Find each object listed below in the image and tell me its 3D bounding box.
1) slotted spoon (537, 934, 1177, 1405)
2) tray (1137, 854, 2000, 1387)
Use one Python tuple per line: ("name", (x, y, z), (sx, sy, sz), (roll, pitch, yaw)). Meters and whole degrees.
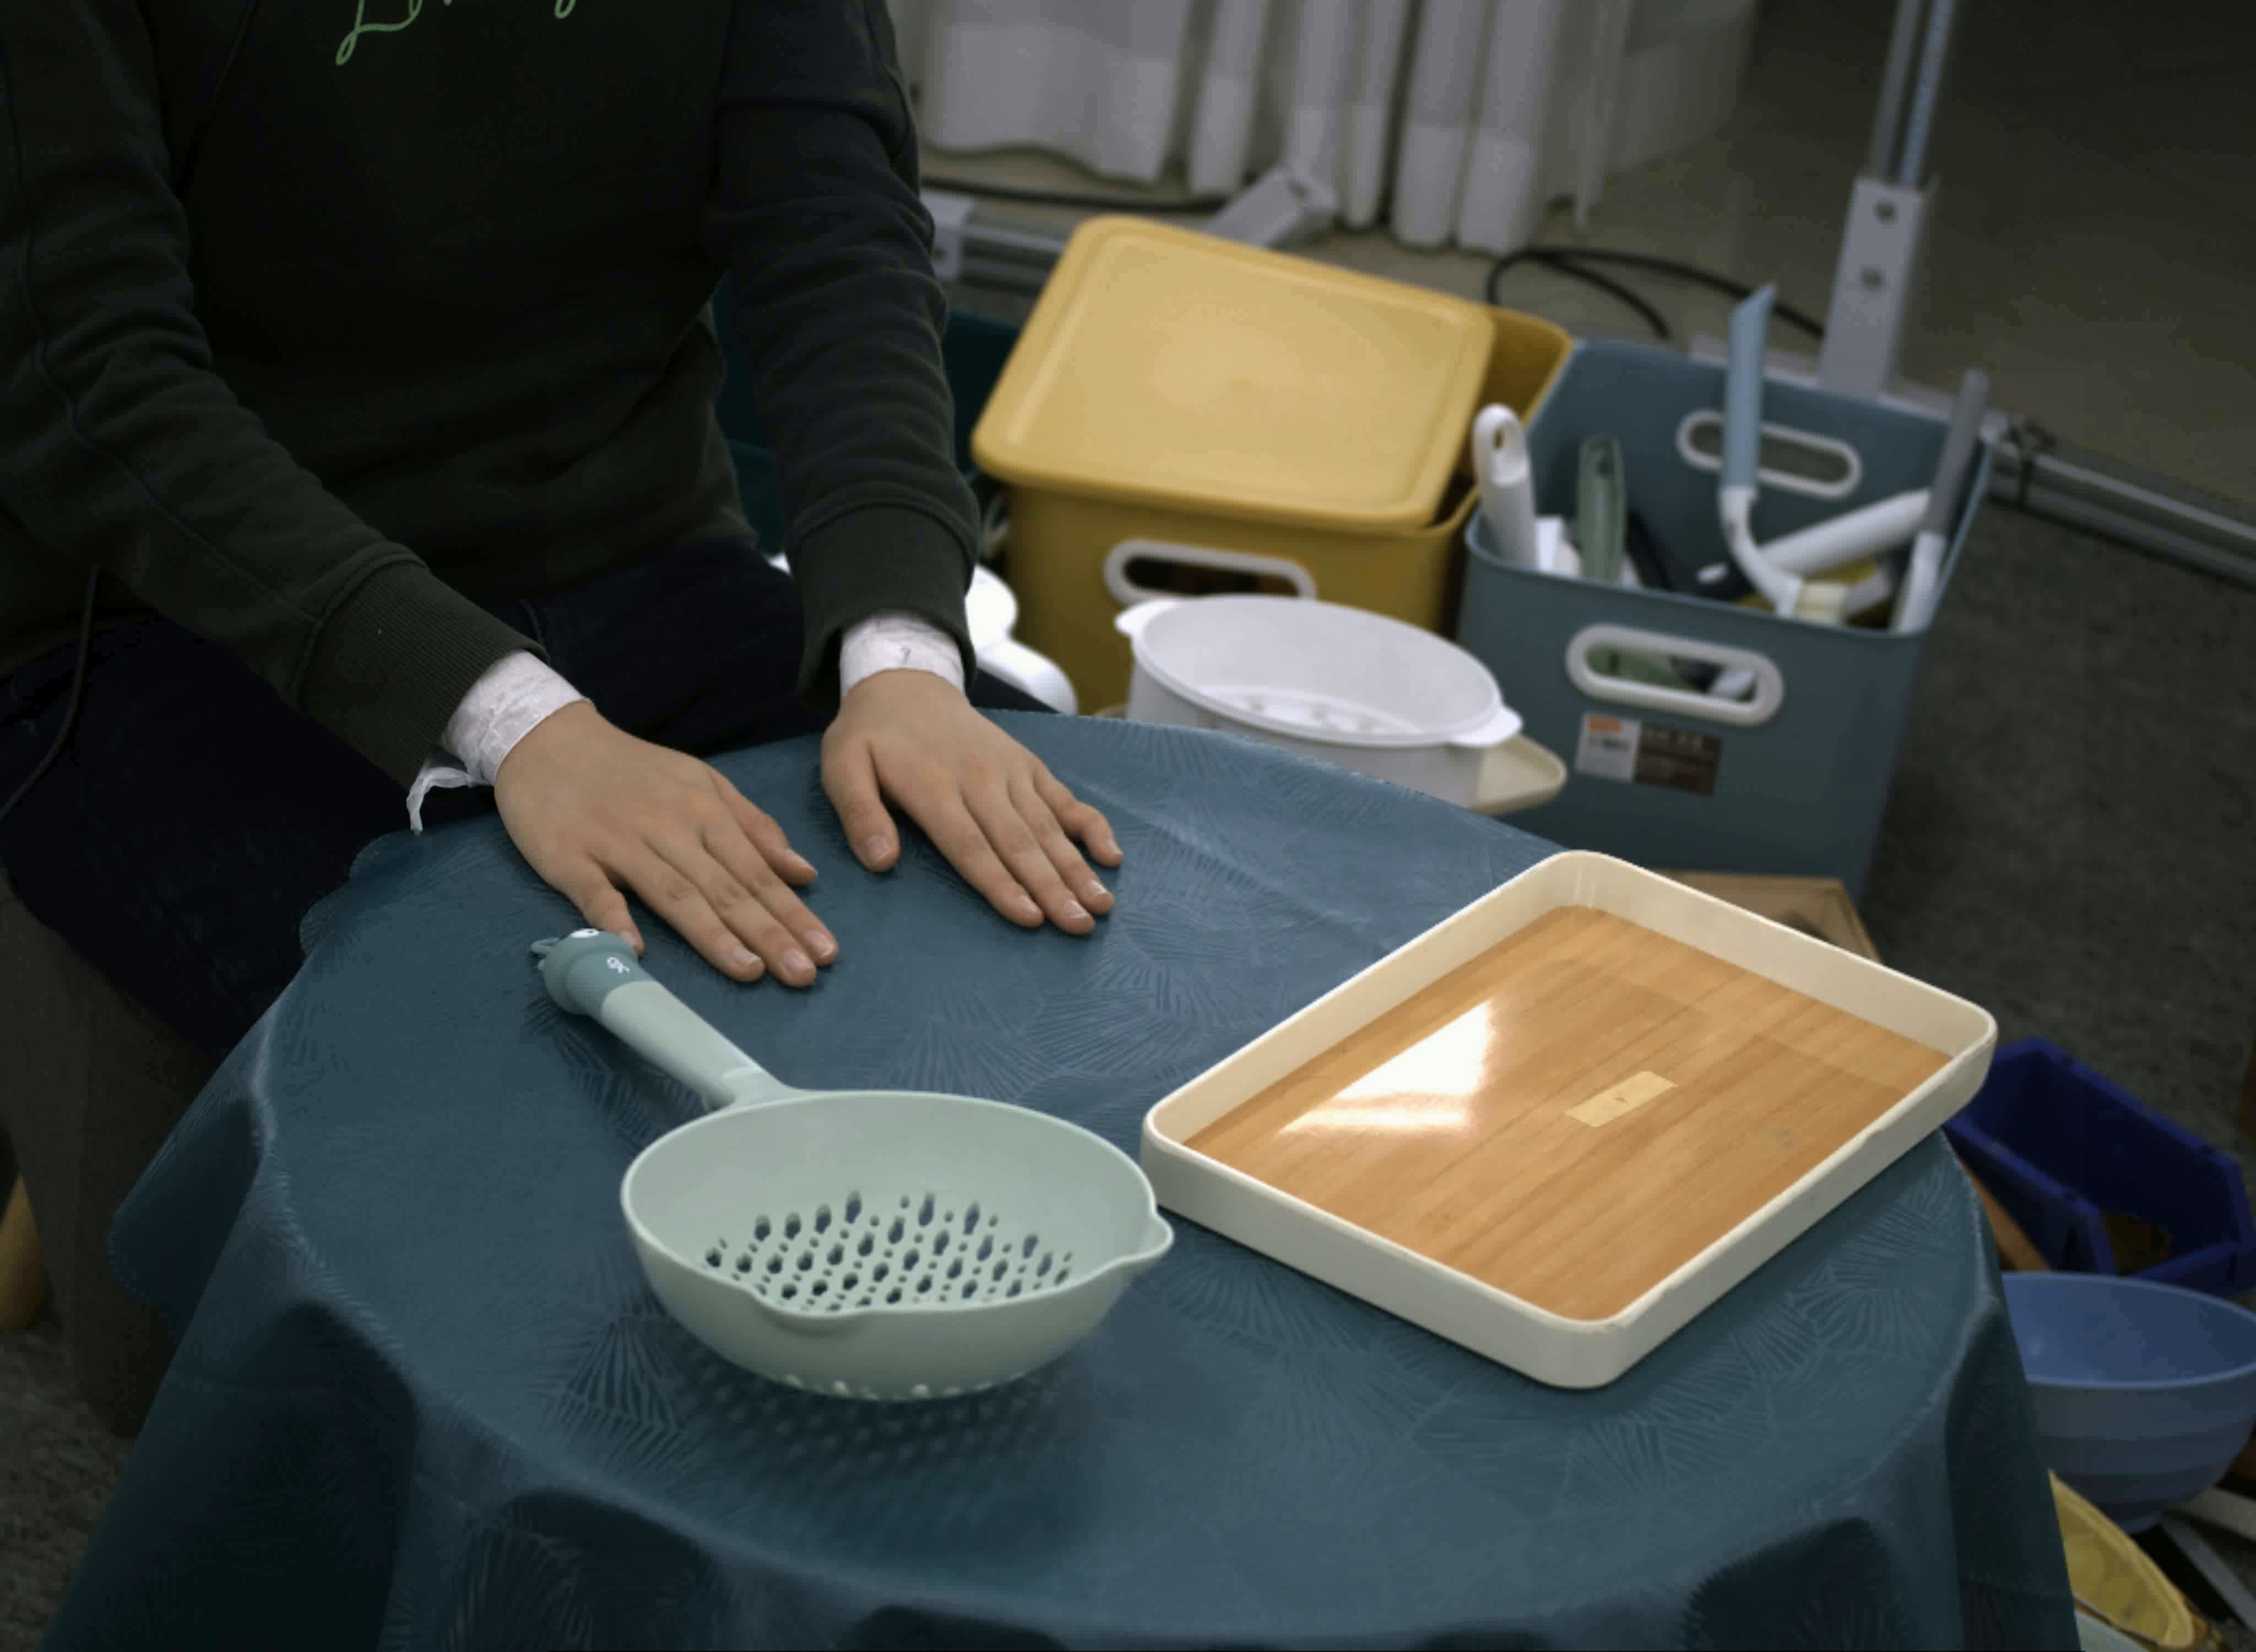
("slotted spoon", (-0.121, 0.097, 1.755), (0.168, 0.075, 0.362), (-8, 30, -27))
("tray", (0.158, 0.097, 1.860), (0.193, 0.027, 0.299), (23, 31, 29))
